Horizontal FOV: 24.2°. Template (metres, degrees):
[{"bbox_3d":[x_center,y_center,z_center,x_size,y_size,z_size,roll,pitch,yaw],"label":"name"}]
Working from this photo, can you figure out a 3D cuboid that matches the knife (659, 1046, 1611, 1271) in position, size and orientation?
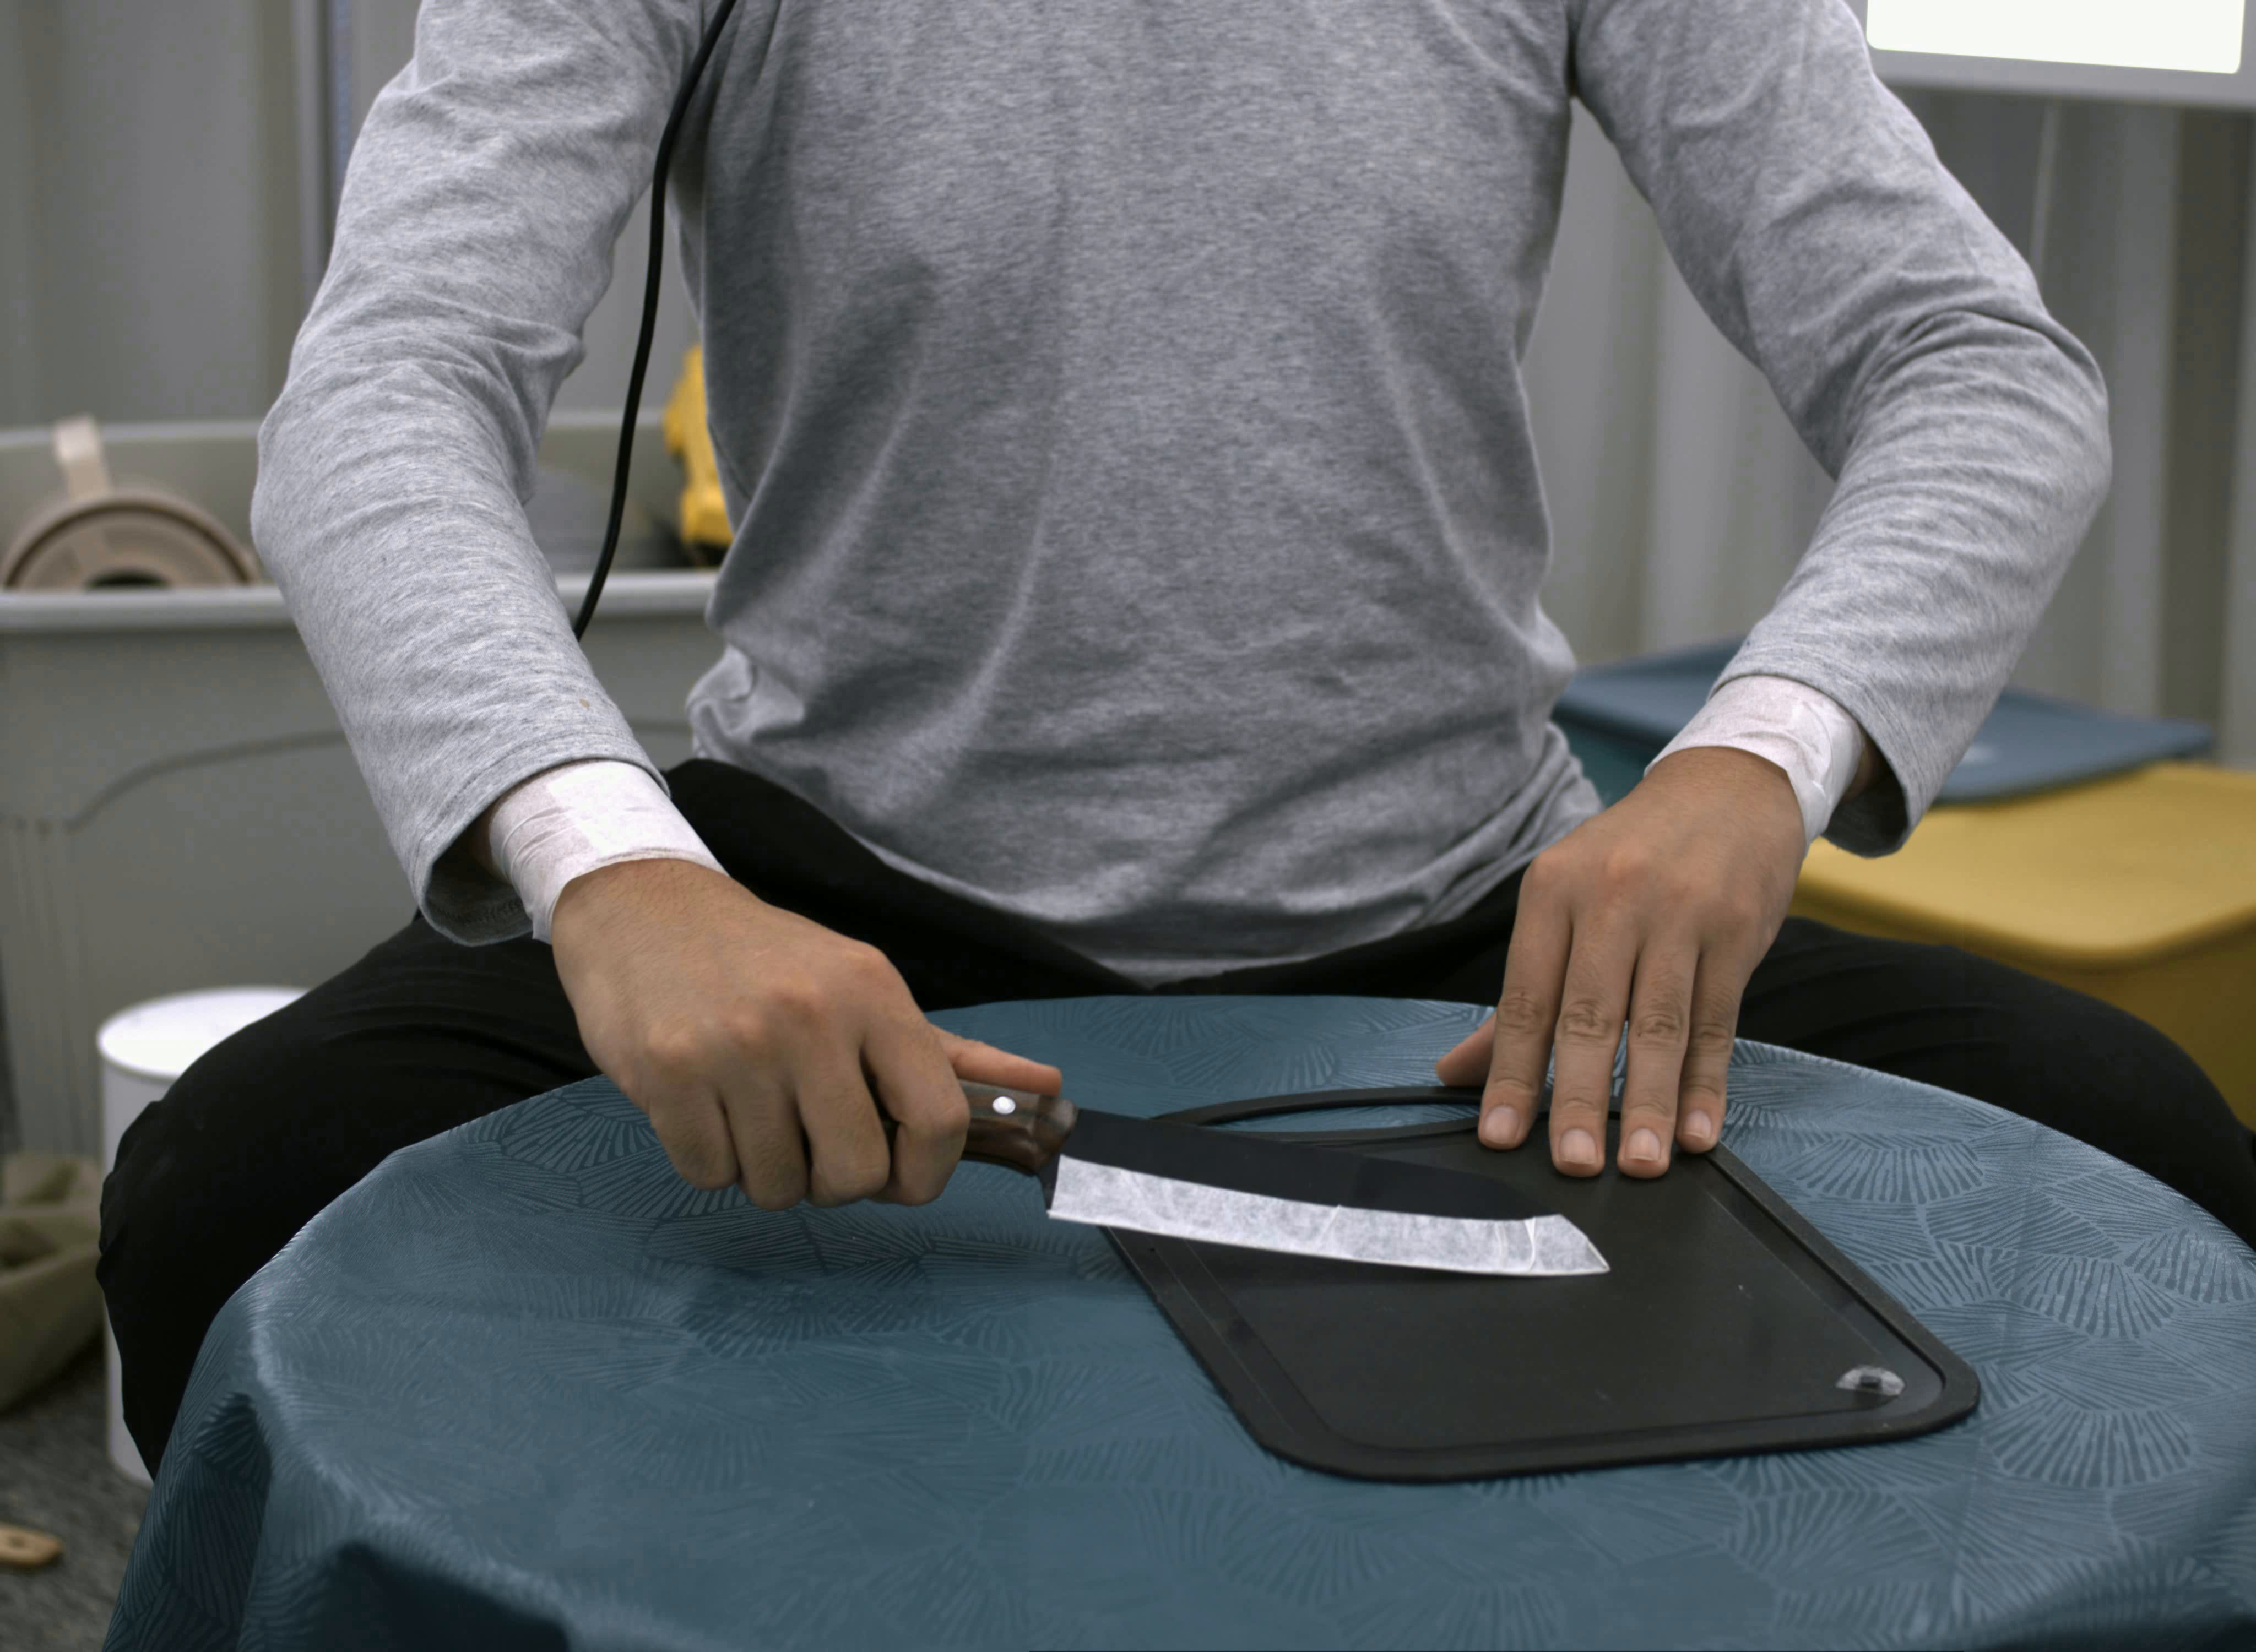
[{"bbox_3d":[0.002,0.100,1.559,0.288,0.020,0.050,11,47,-1],"label":"knife"}]

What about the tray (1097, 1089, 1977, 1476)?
[{"bbox_3d":[0.107,0.127,1.564,0.211,0.010,0.322,-3,15,-13],"label":"tray"}]
